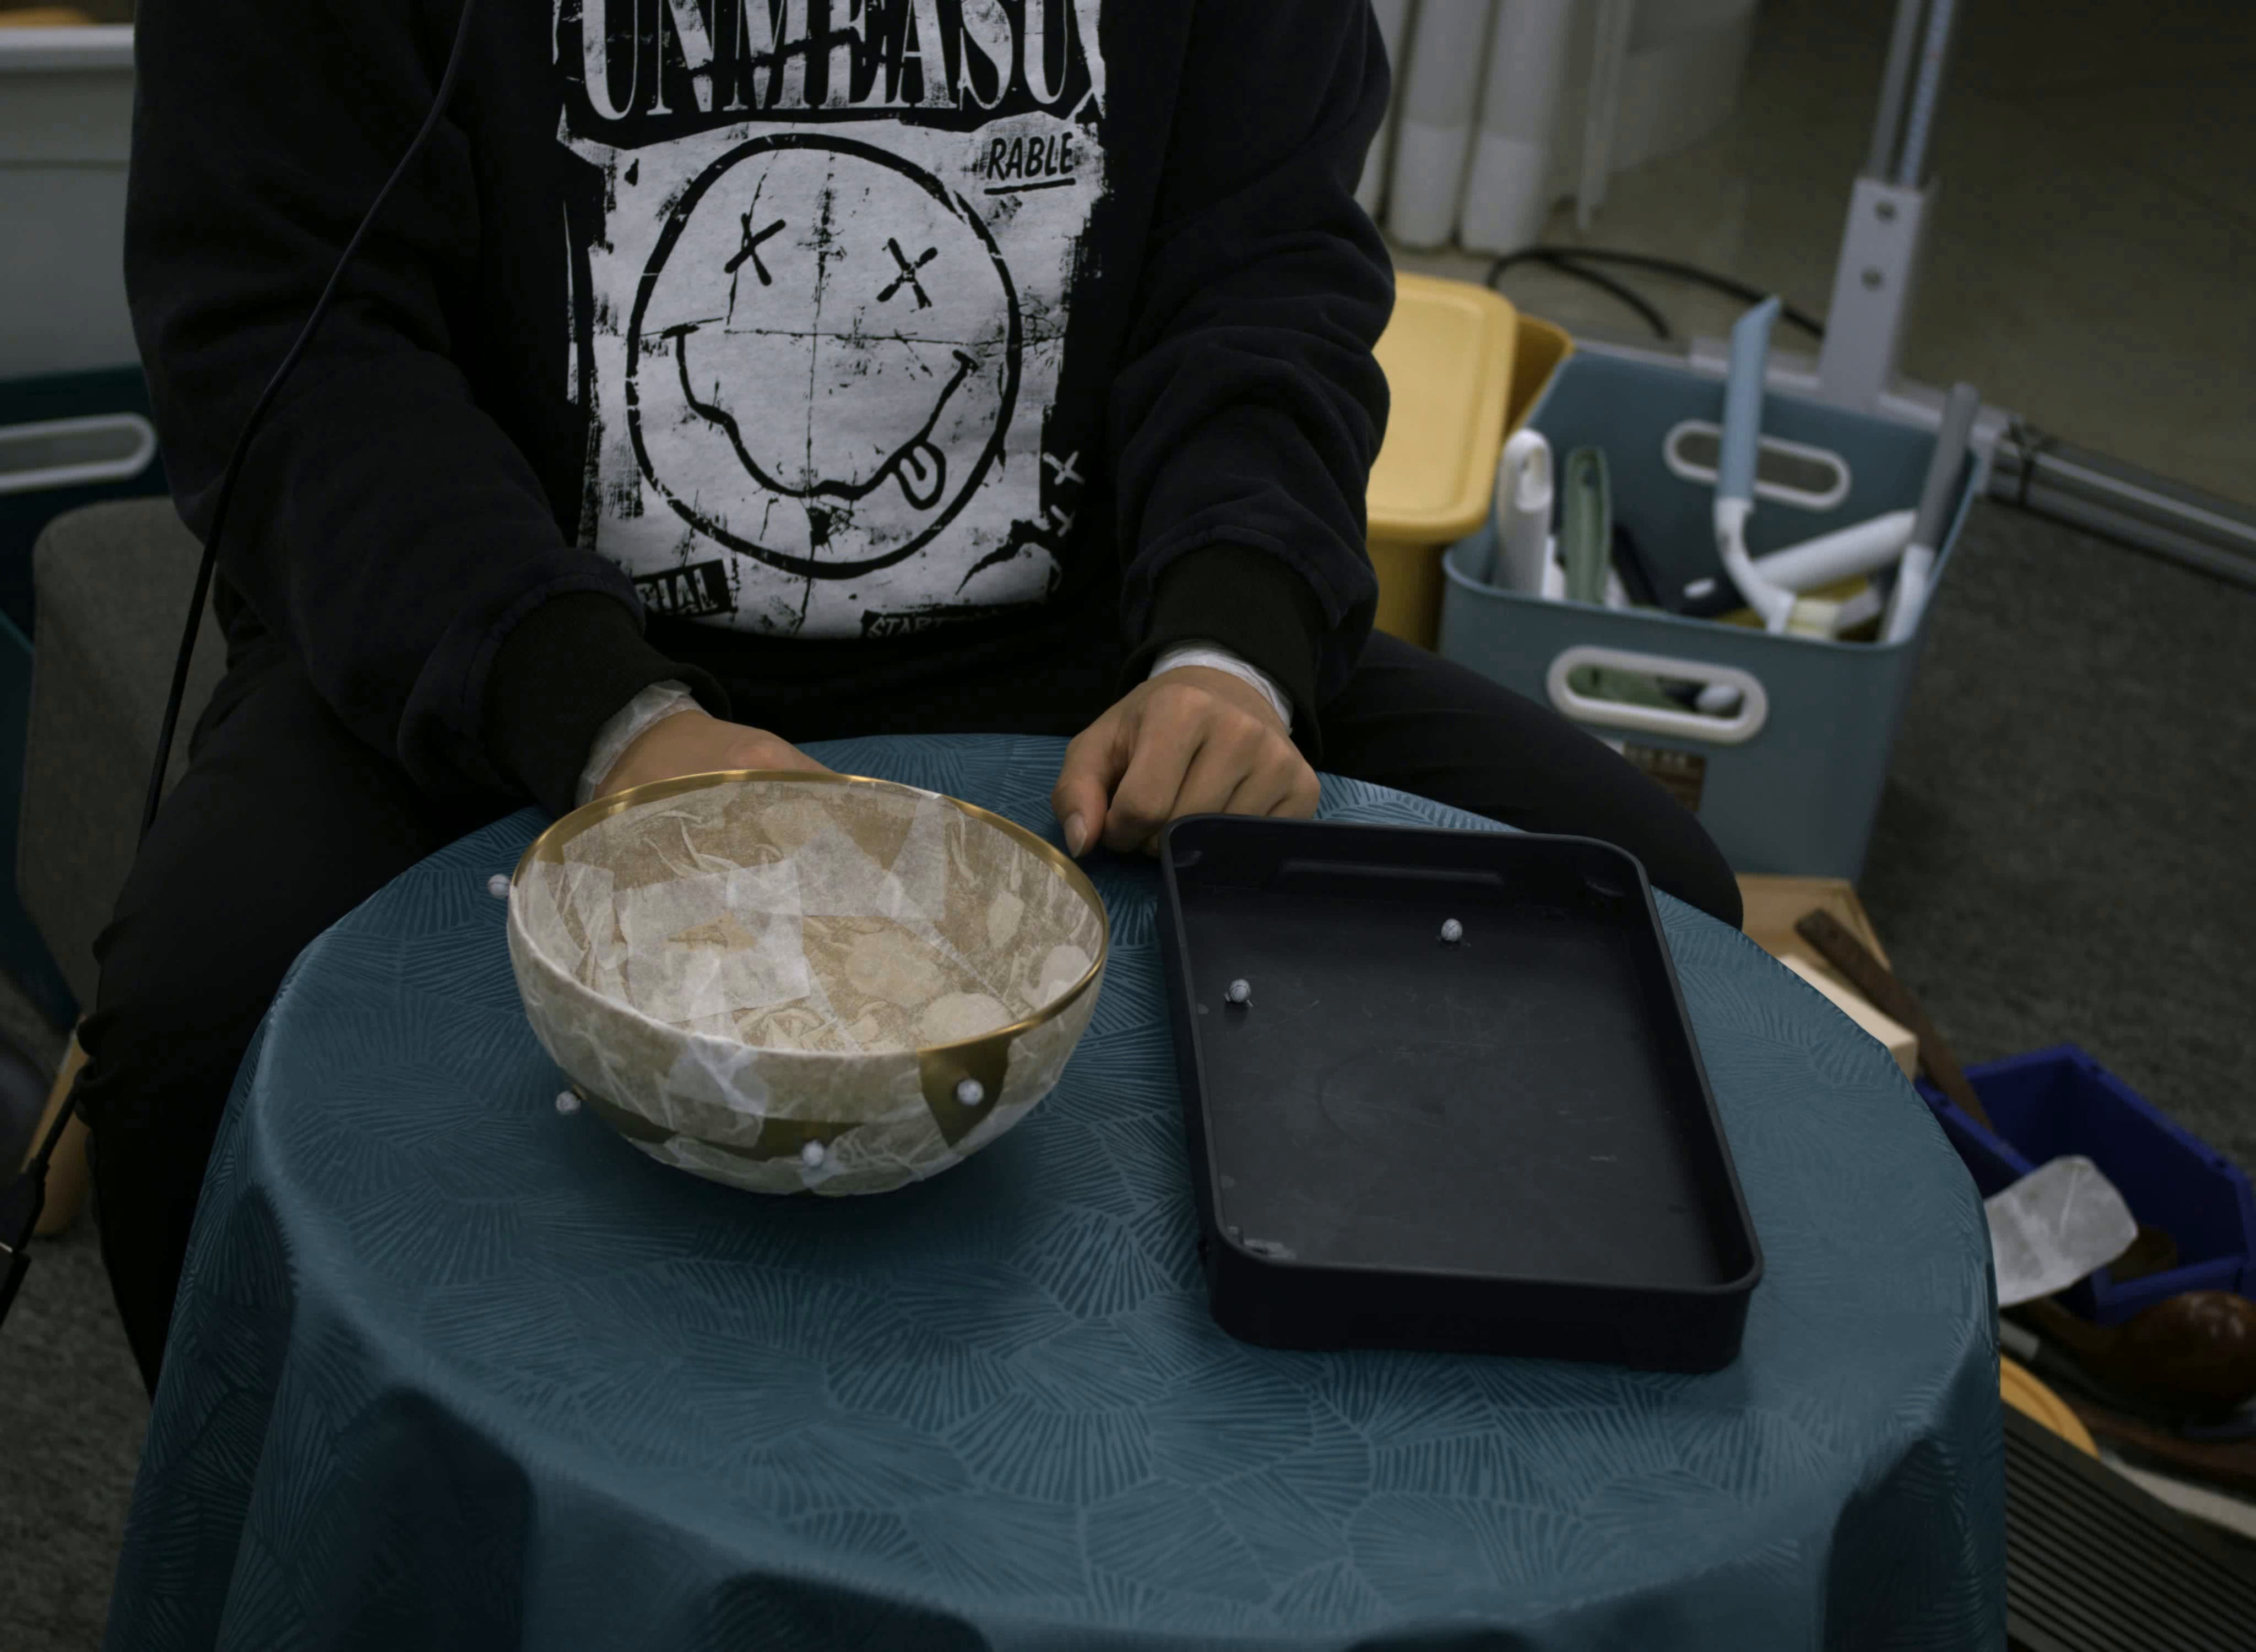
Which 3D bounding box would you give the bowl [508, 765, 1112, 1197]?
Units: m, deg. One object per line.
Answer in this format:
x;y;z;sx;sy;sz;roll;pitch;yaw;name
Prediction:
-0.105;0.064;1.791;0.214;0.094;0.216;4;27;-2;bowl

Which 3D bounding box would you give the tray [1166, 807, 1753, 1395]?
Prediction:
0.108;0.090;1.858;0.183;0.037;0.320;5;28;-4;tray
